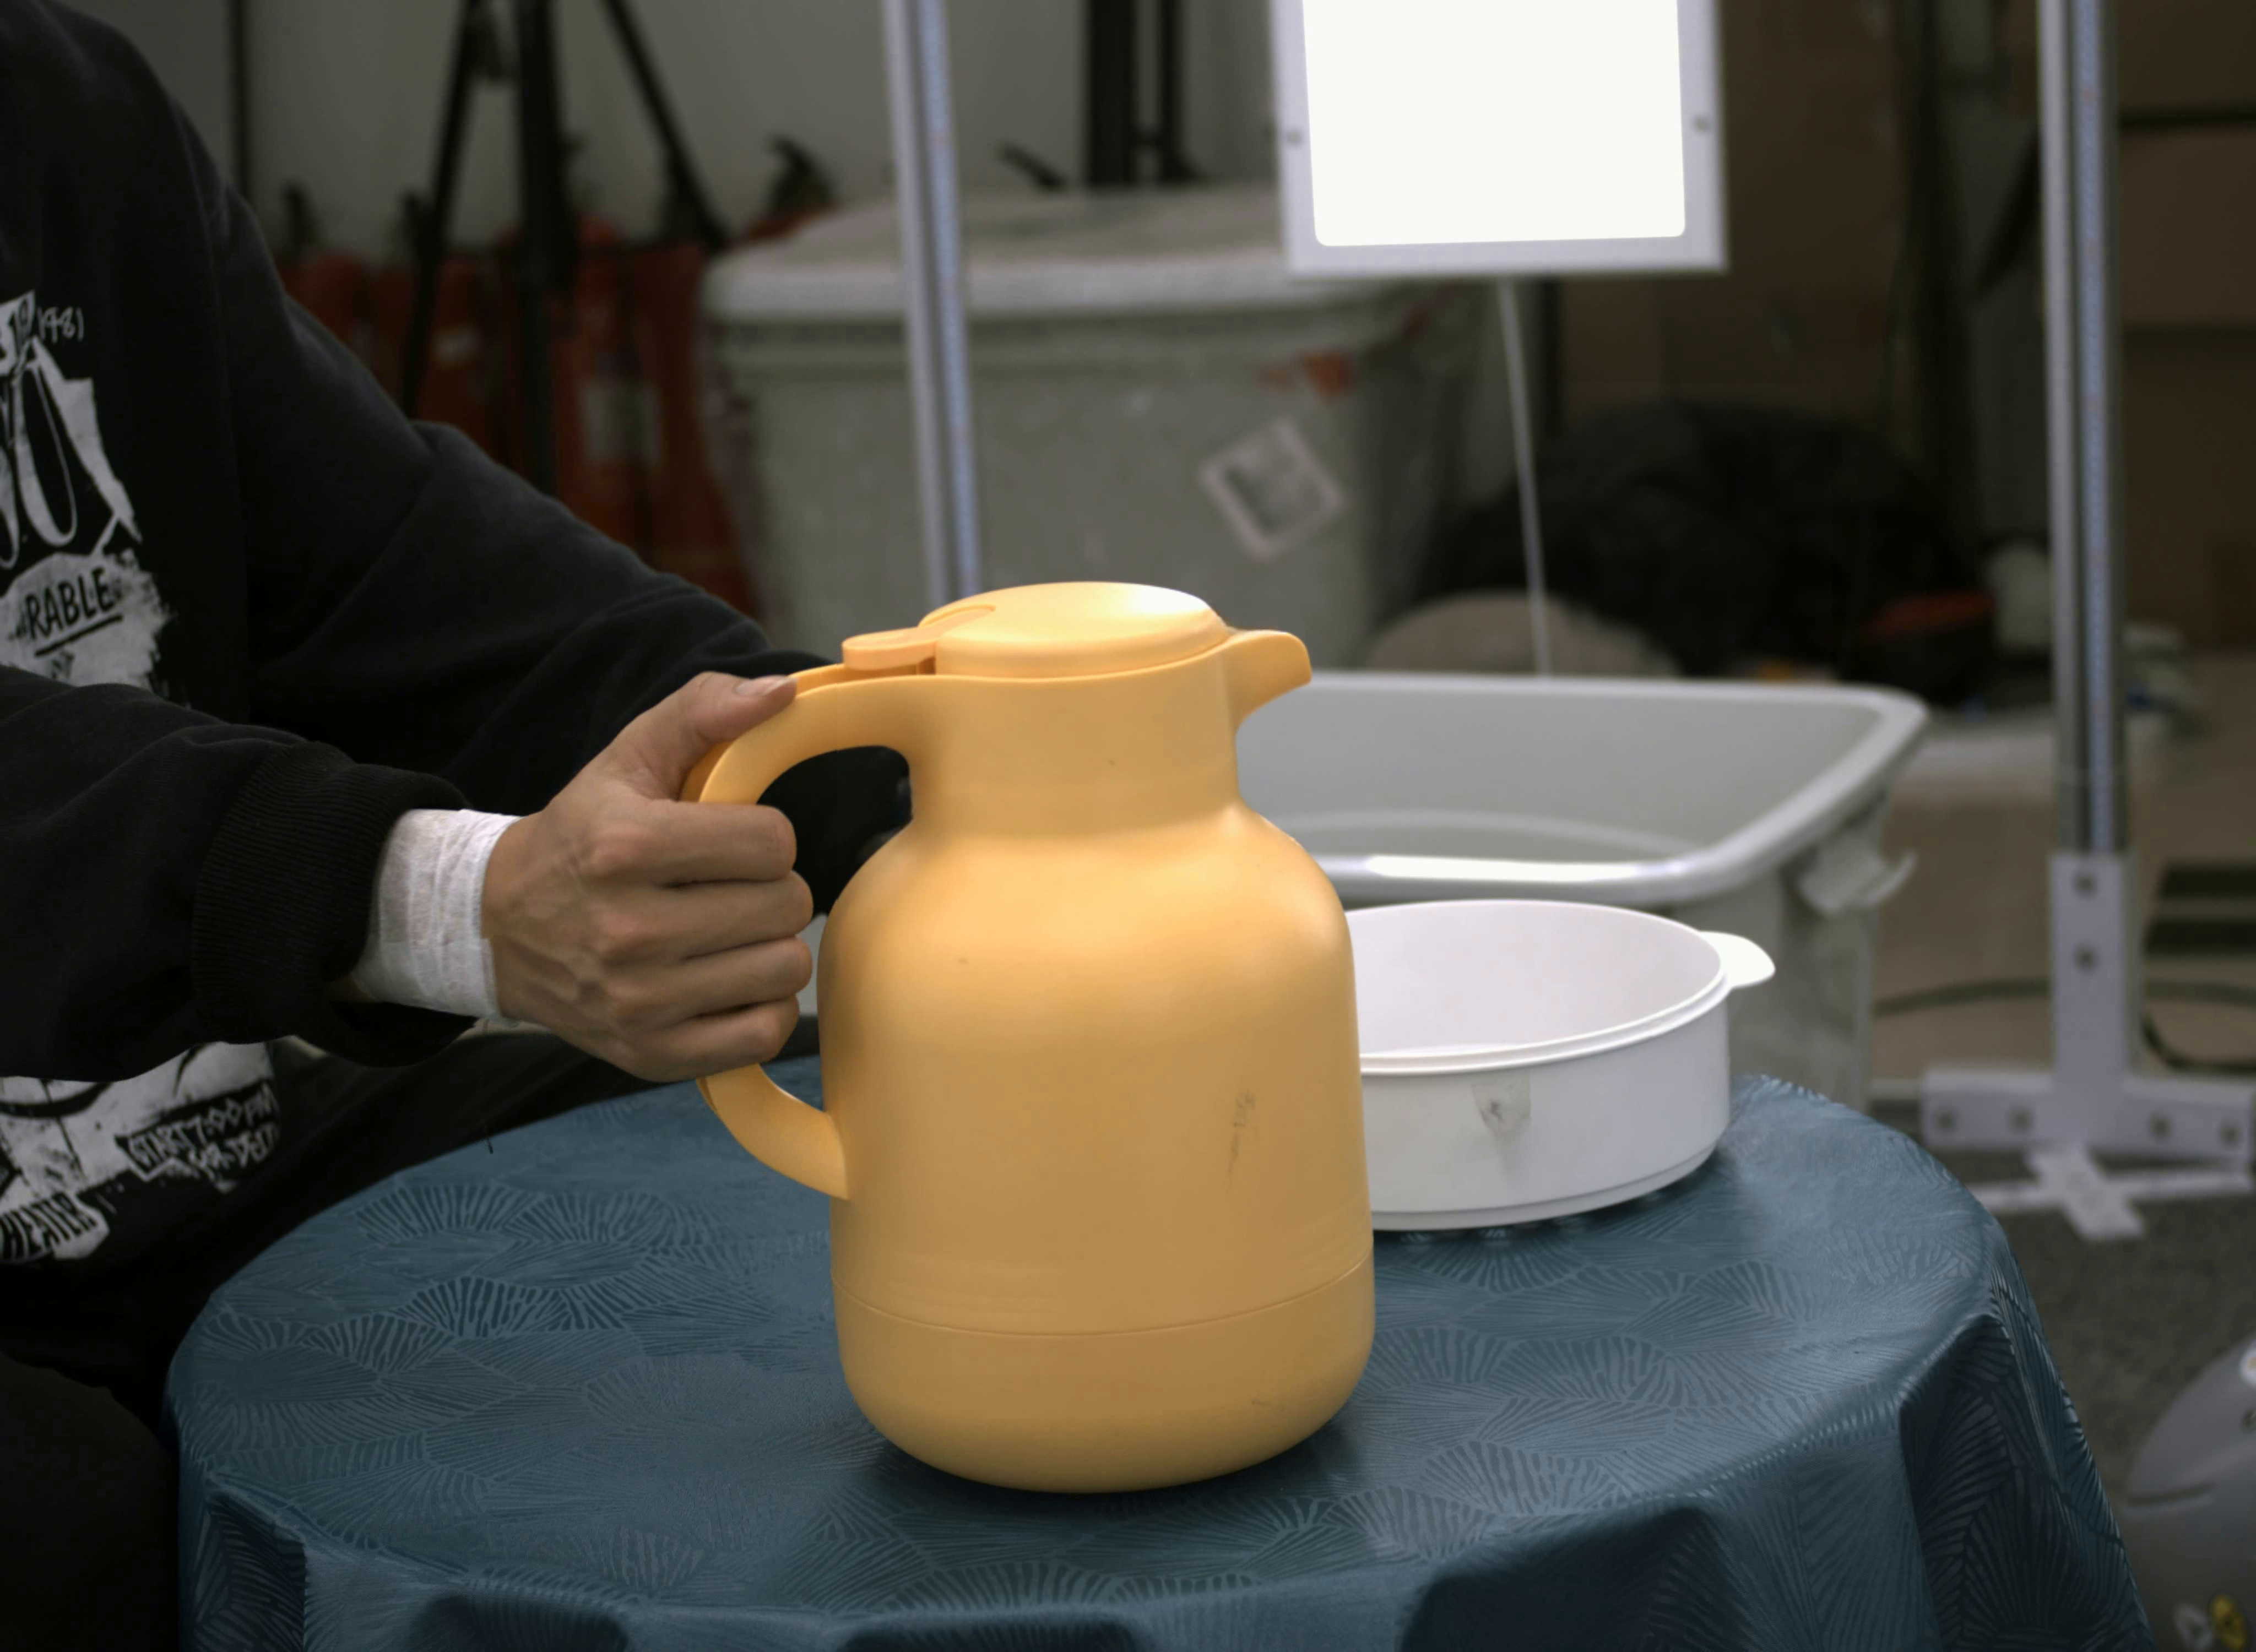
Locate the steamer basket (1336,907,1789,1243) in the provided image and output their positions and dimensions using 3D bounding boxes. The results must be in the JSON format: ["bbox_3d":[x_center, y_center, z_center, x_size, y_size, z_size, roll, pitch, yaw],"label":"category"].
[{"bbox_3d":[0.115,0.086,1.896,0.229,0.069,0.202,-6,14,-4],"label":"steamer basket"}]

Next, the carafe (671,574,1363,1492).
[{"bbox_3d":[-0.033,0.058,1.631,0.200,0.261,0.164,-5,11,-11],"label":"carafe"}]
